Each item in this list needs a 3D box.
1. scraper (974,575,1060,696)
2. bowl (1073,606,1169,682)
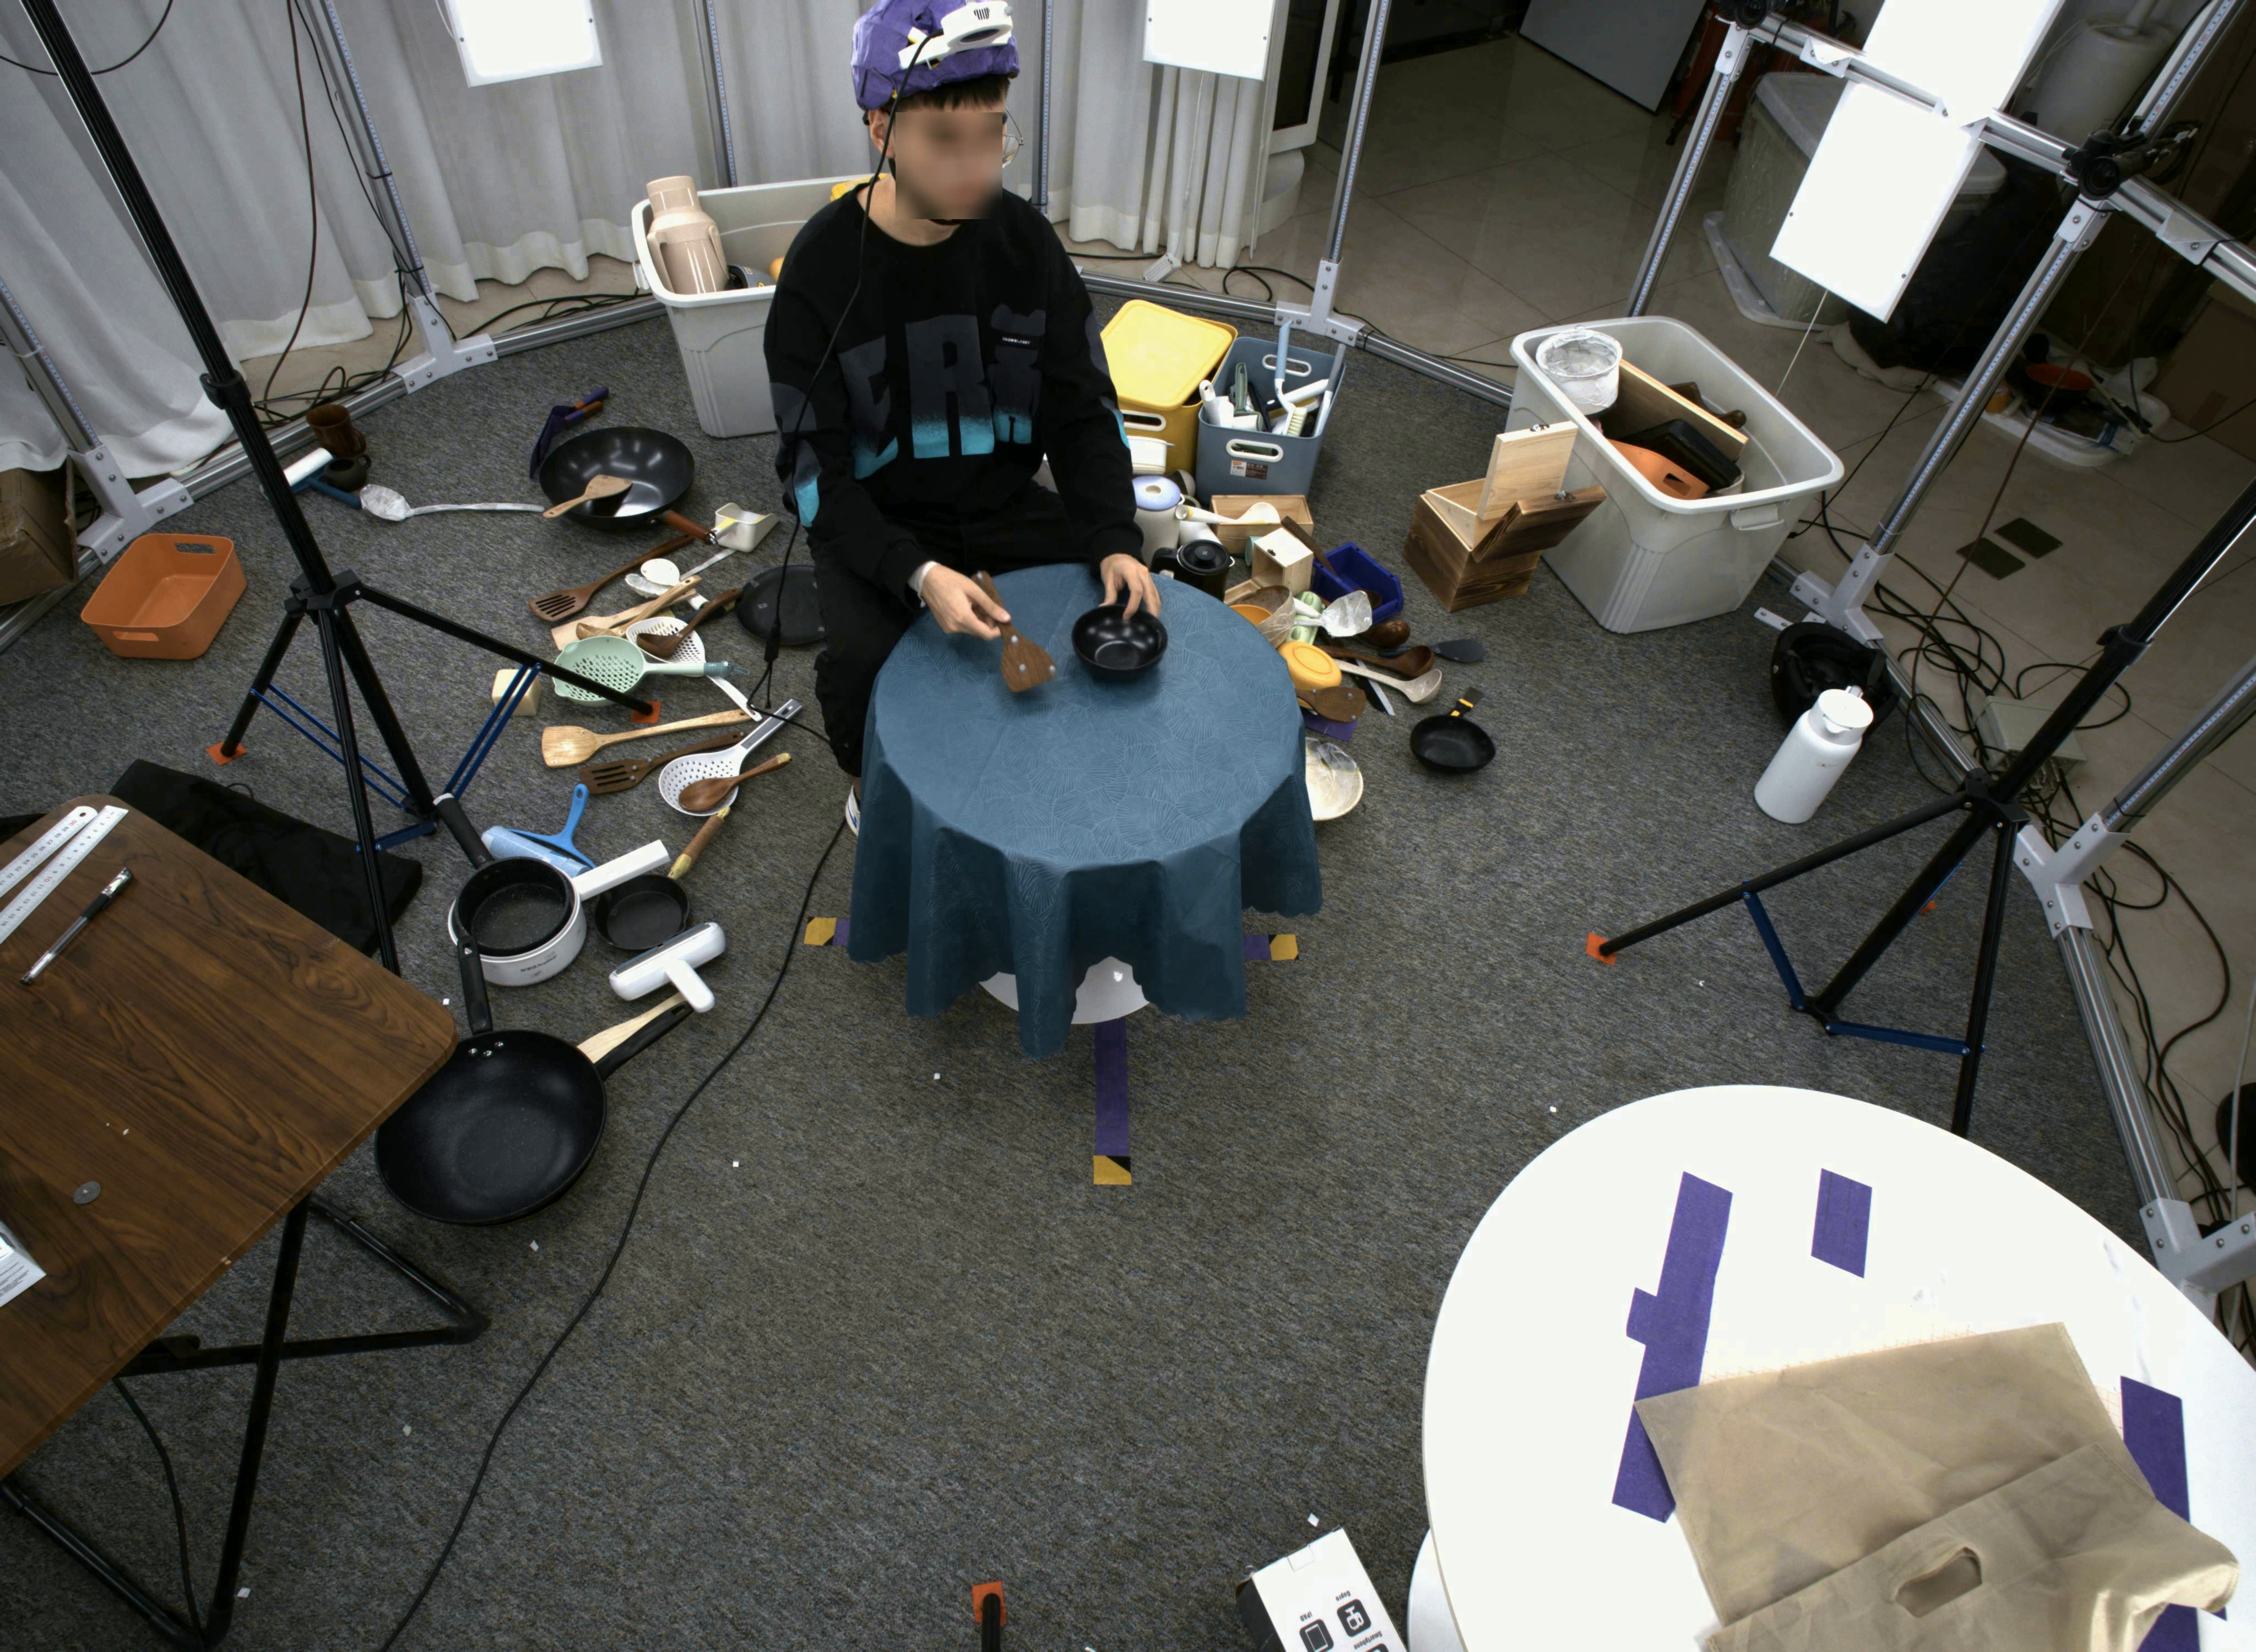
[{"bbox_3d":[-0.170,-0.277,1.847,0.076,0.010,0.215,-23,66,-11],"label":"scraper"},{"bbox_3d":[-0.010,-0.257,1.877,0.140,0.048,0.143,0,50,0],"label":"bowl"}]
